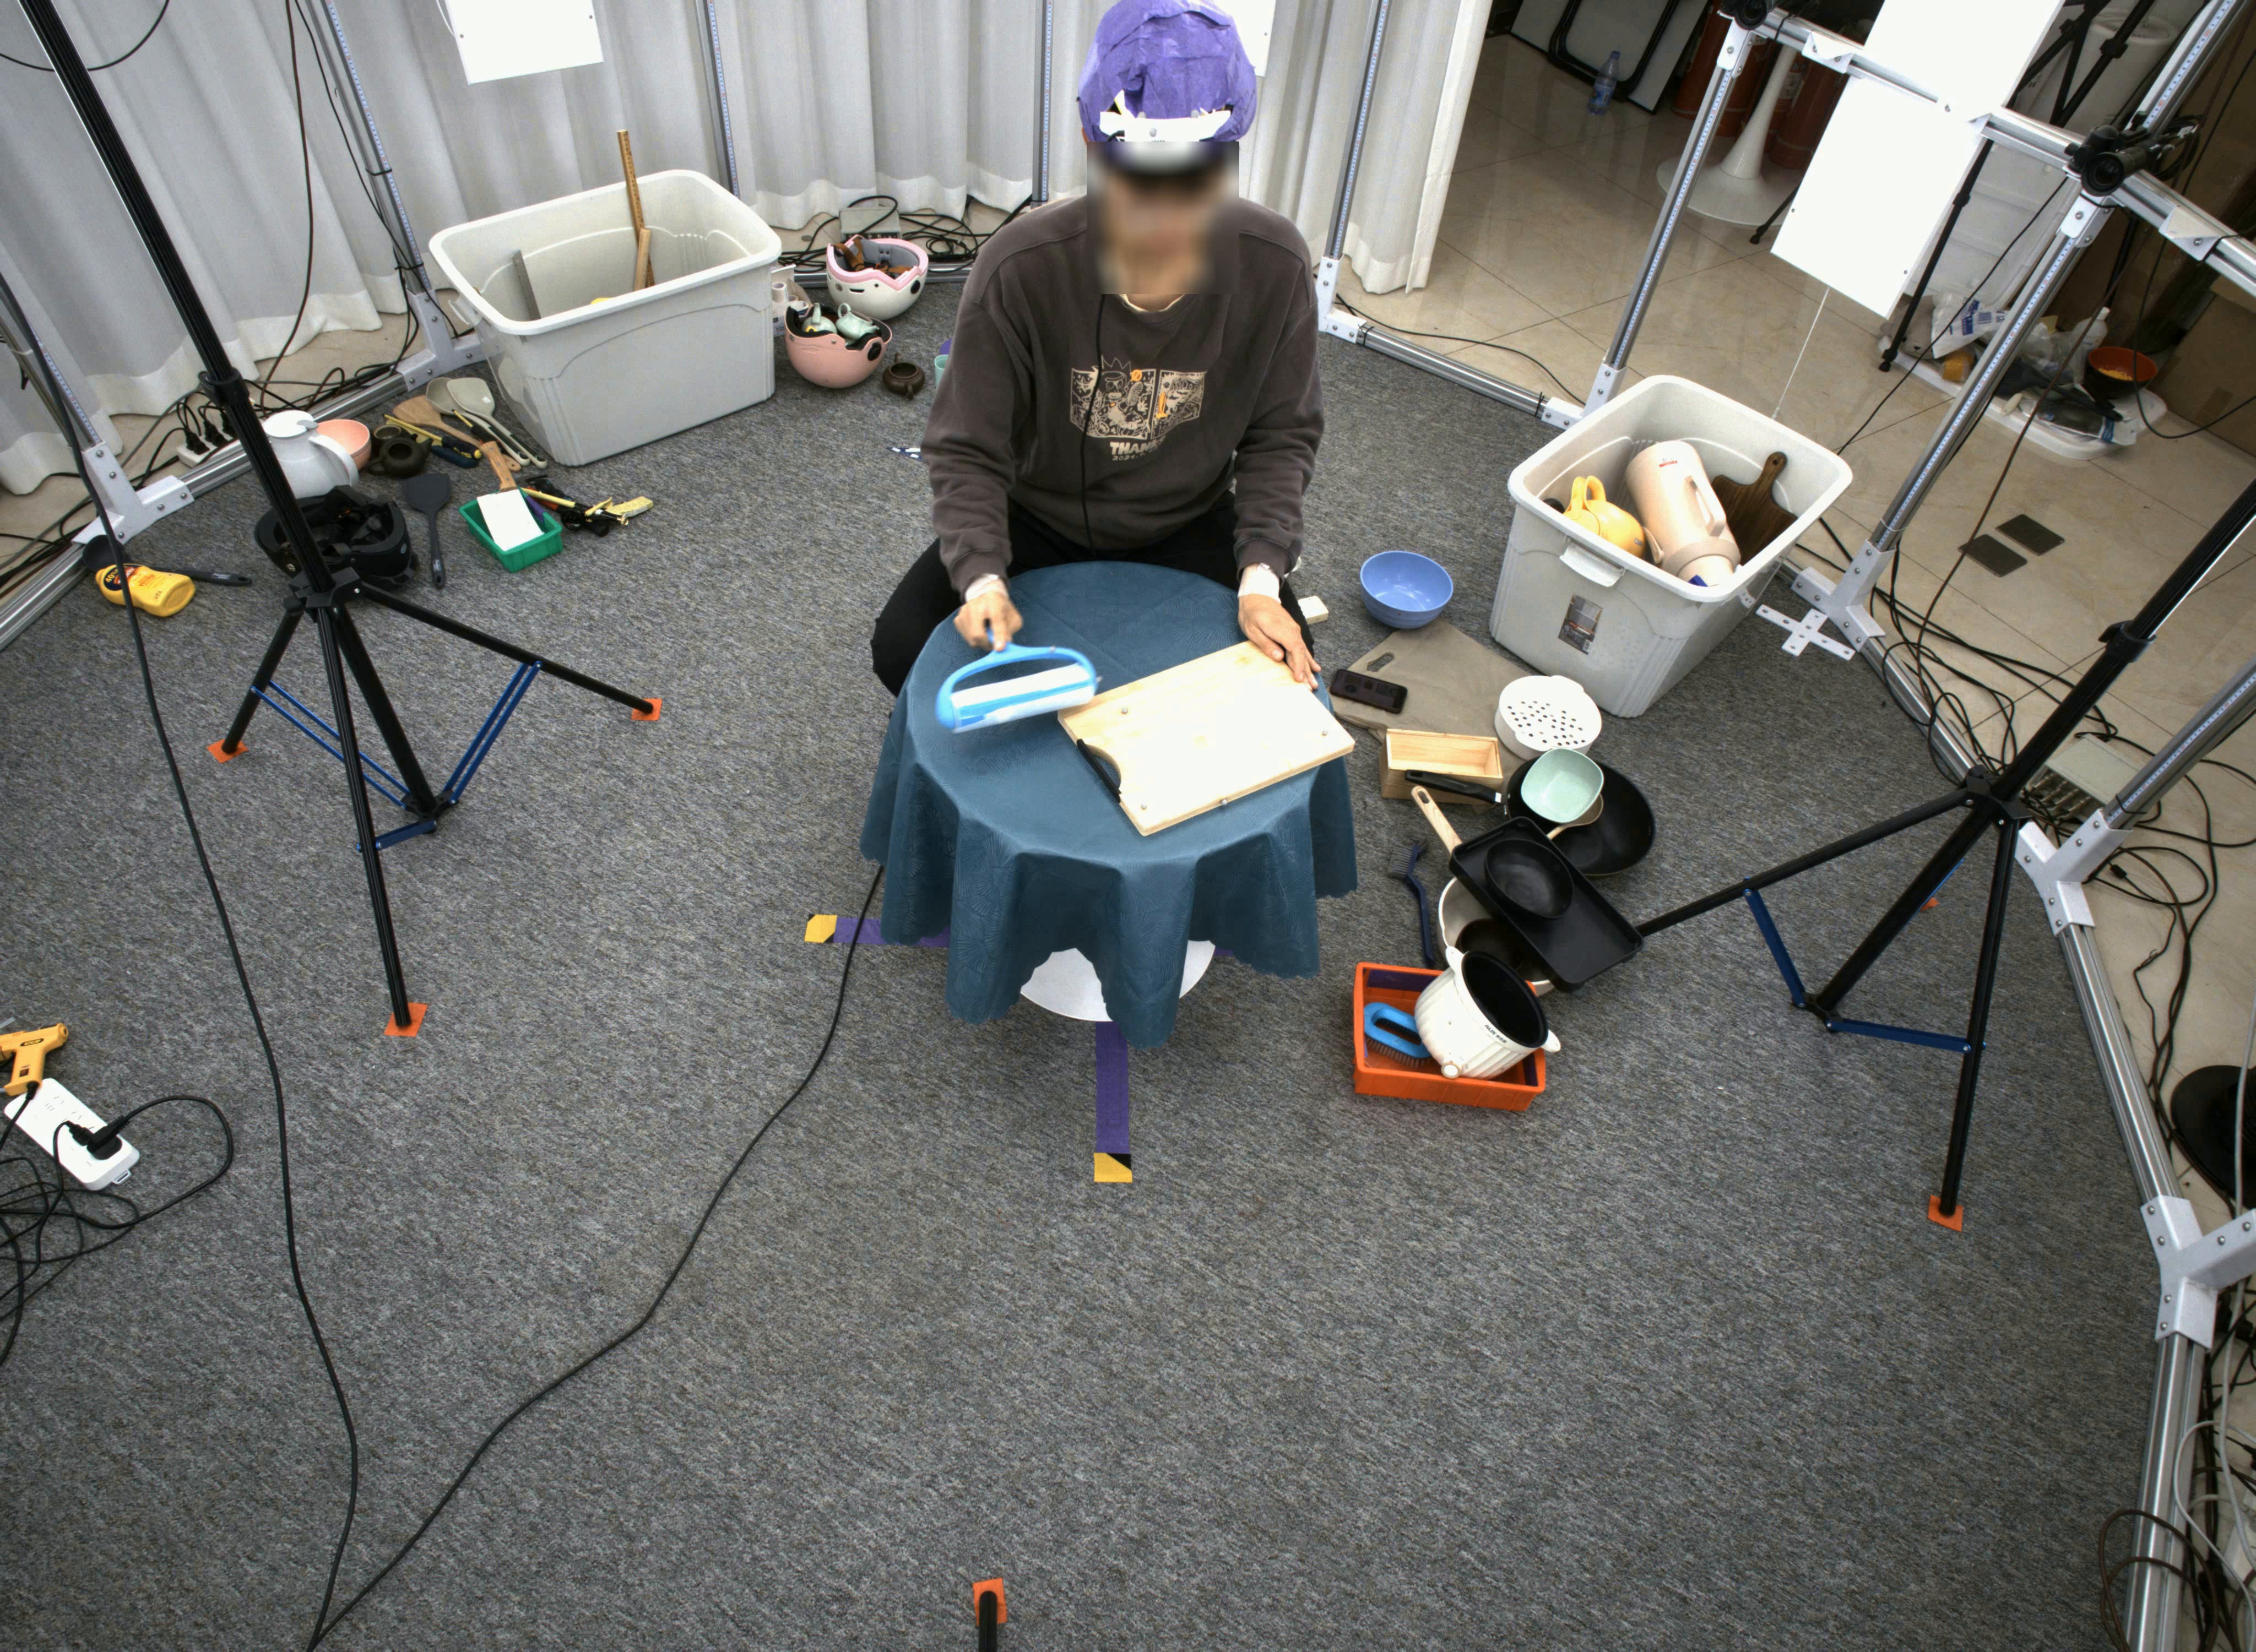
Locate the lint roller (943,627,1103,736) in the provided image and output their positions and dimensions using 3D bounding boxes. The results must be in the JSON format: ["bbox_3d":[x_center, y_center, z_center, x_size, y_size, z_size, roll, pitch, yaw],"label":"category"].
[{"bbox_3d":[-0.165,-0.218,1.748,0.229,0.066,0.183,-20,63,-23],"label":"lint roller"}]

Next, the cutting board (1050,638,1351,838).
[{"bbox_3d":[0.102,-0.131,1.775,0.350,0.023,0.256,-22,53,-21],"label":"cutting board"}]
